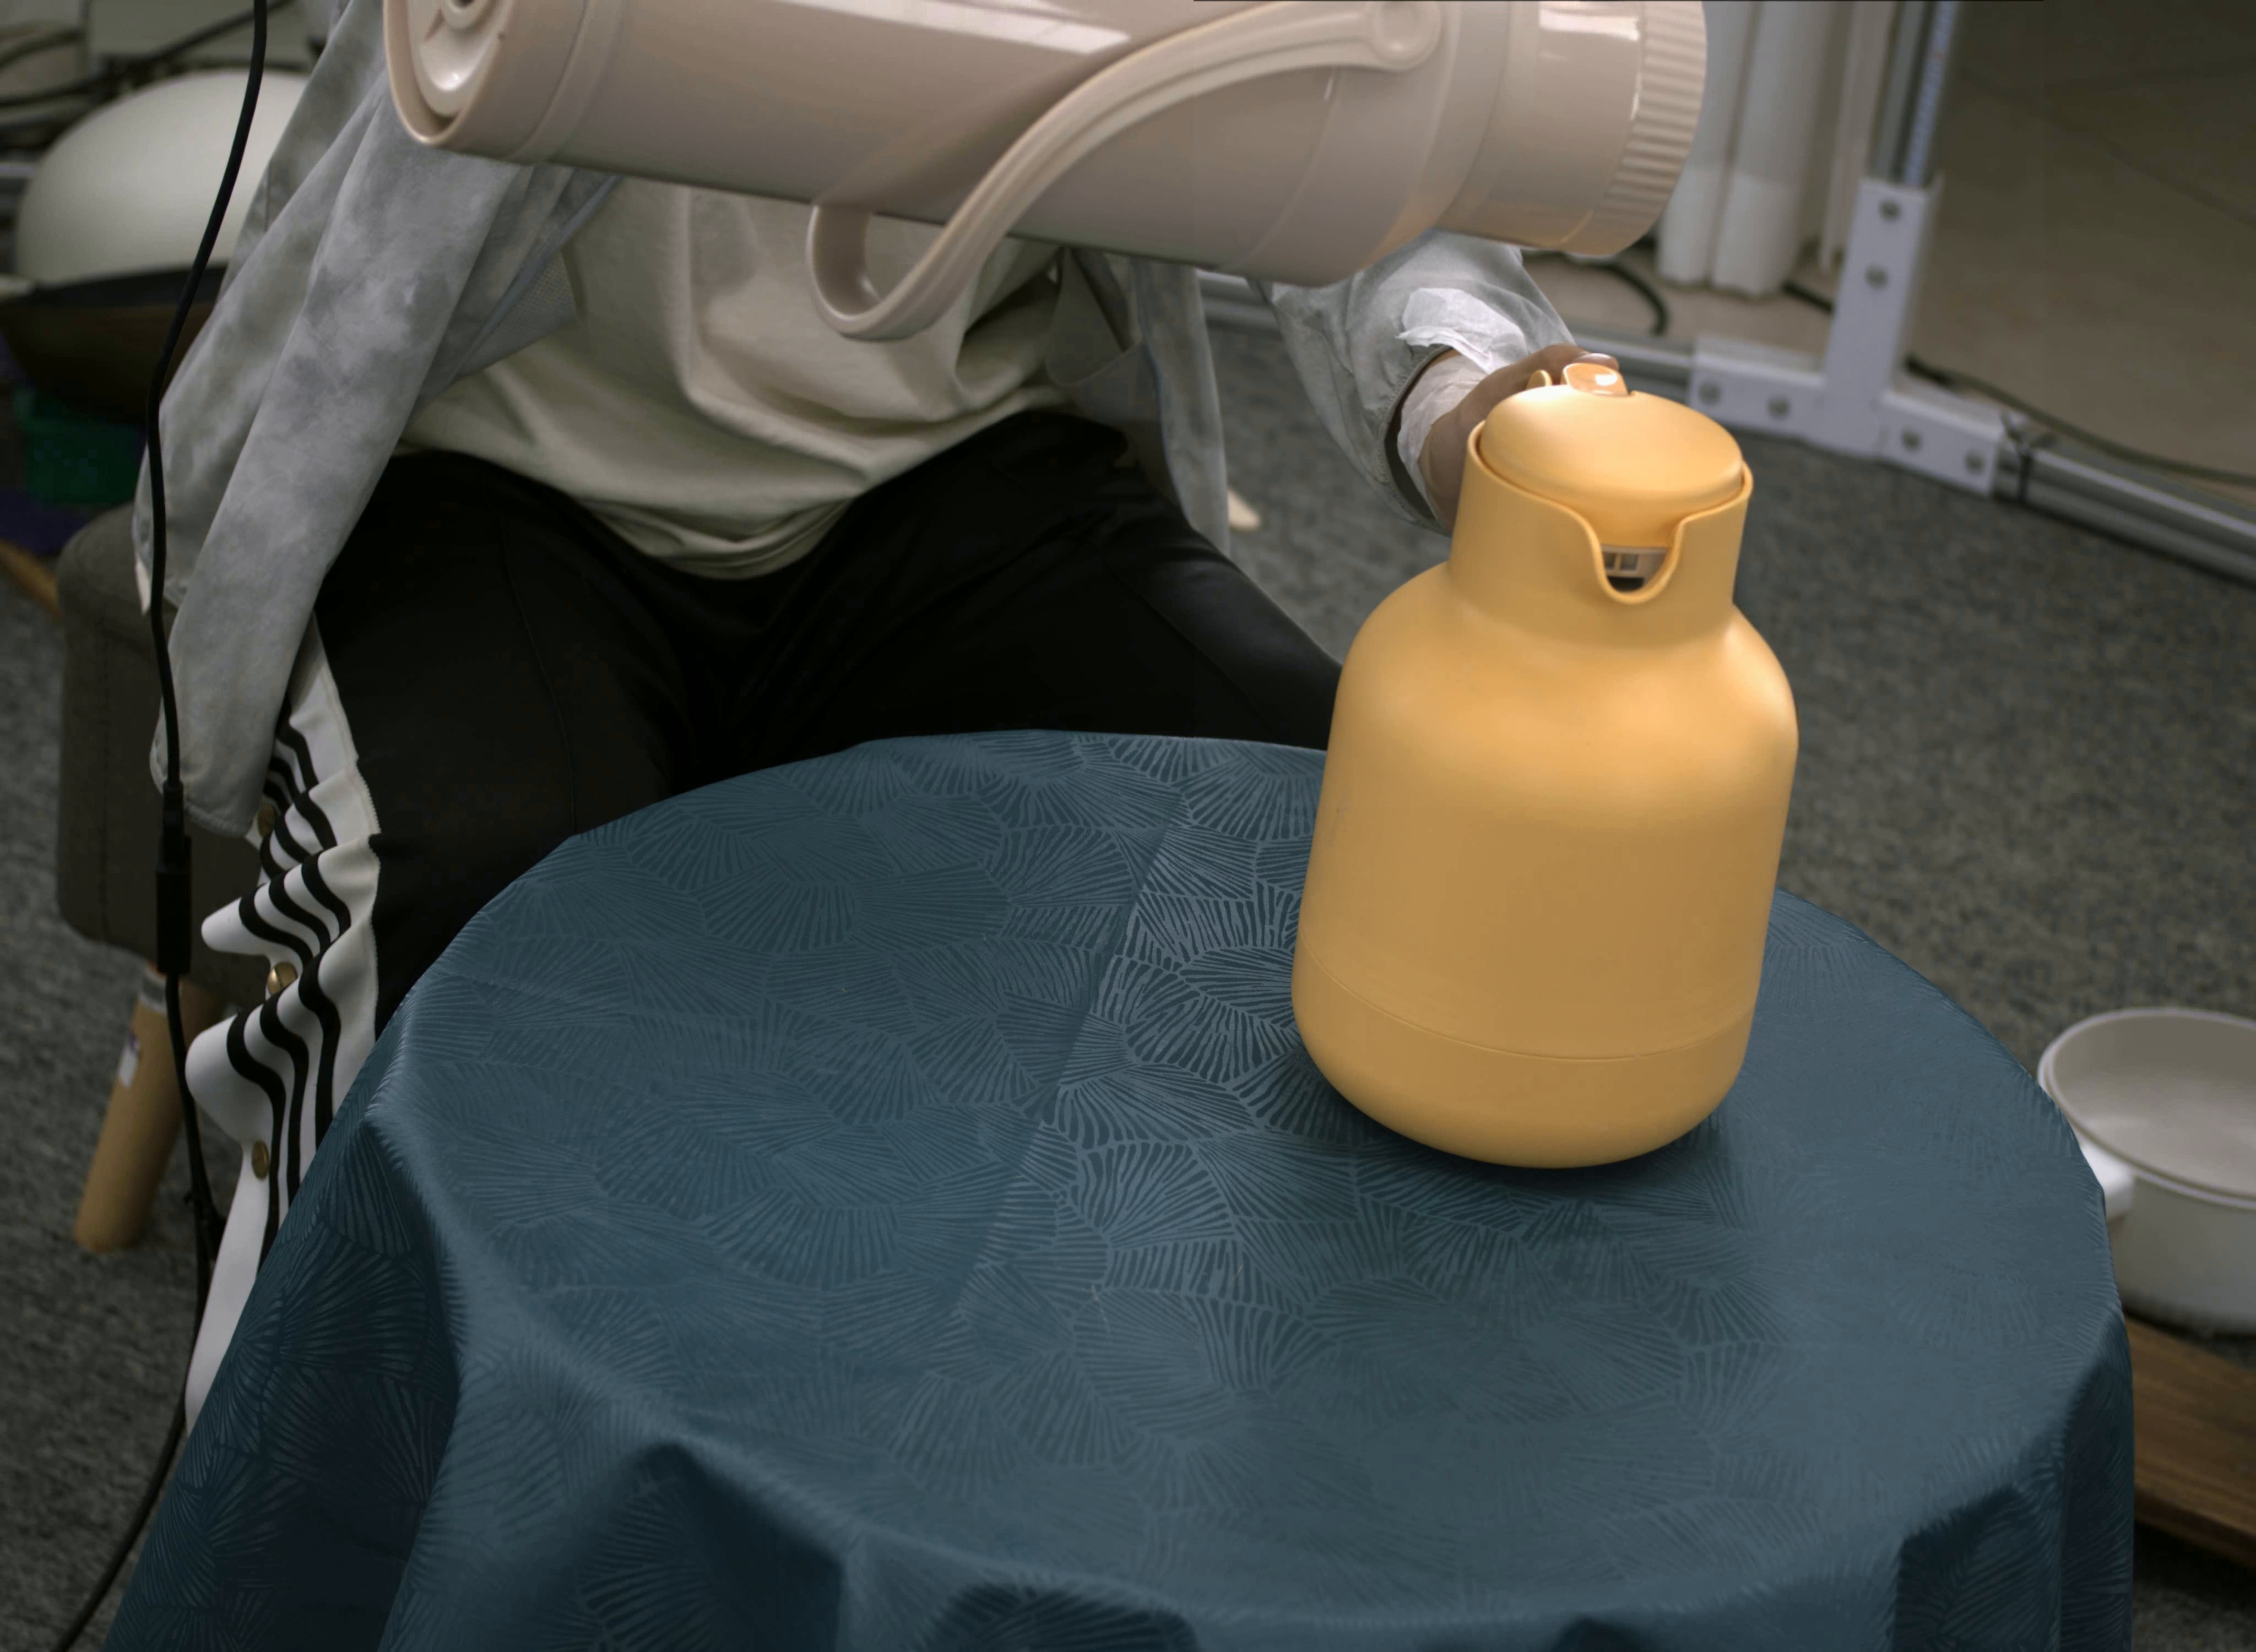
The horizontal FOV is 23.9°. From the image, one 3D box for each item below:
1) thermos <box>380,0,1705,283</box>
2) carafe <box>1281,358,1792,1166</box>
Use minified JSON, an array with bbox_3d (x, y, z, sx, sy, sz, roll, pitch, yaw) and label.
[{"bbox_3d":[-0.020,-0.276,1.669,0.403,0.207,0.176,7,3,-20],"label":"thermos"},{"bbox_3d":[0.148,-0.031,1.855,0.163,0.259,0.203,7,27,-4],"label":"carafe"}]
